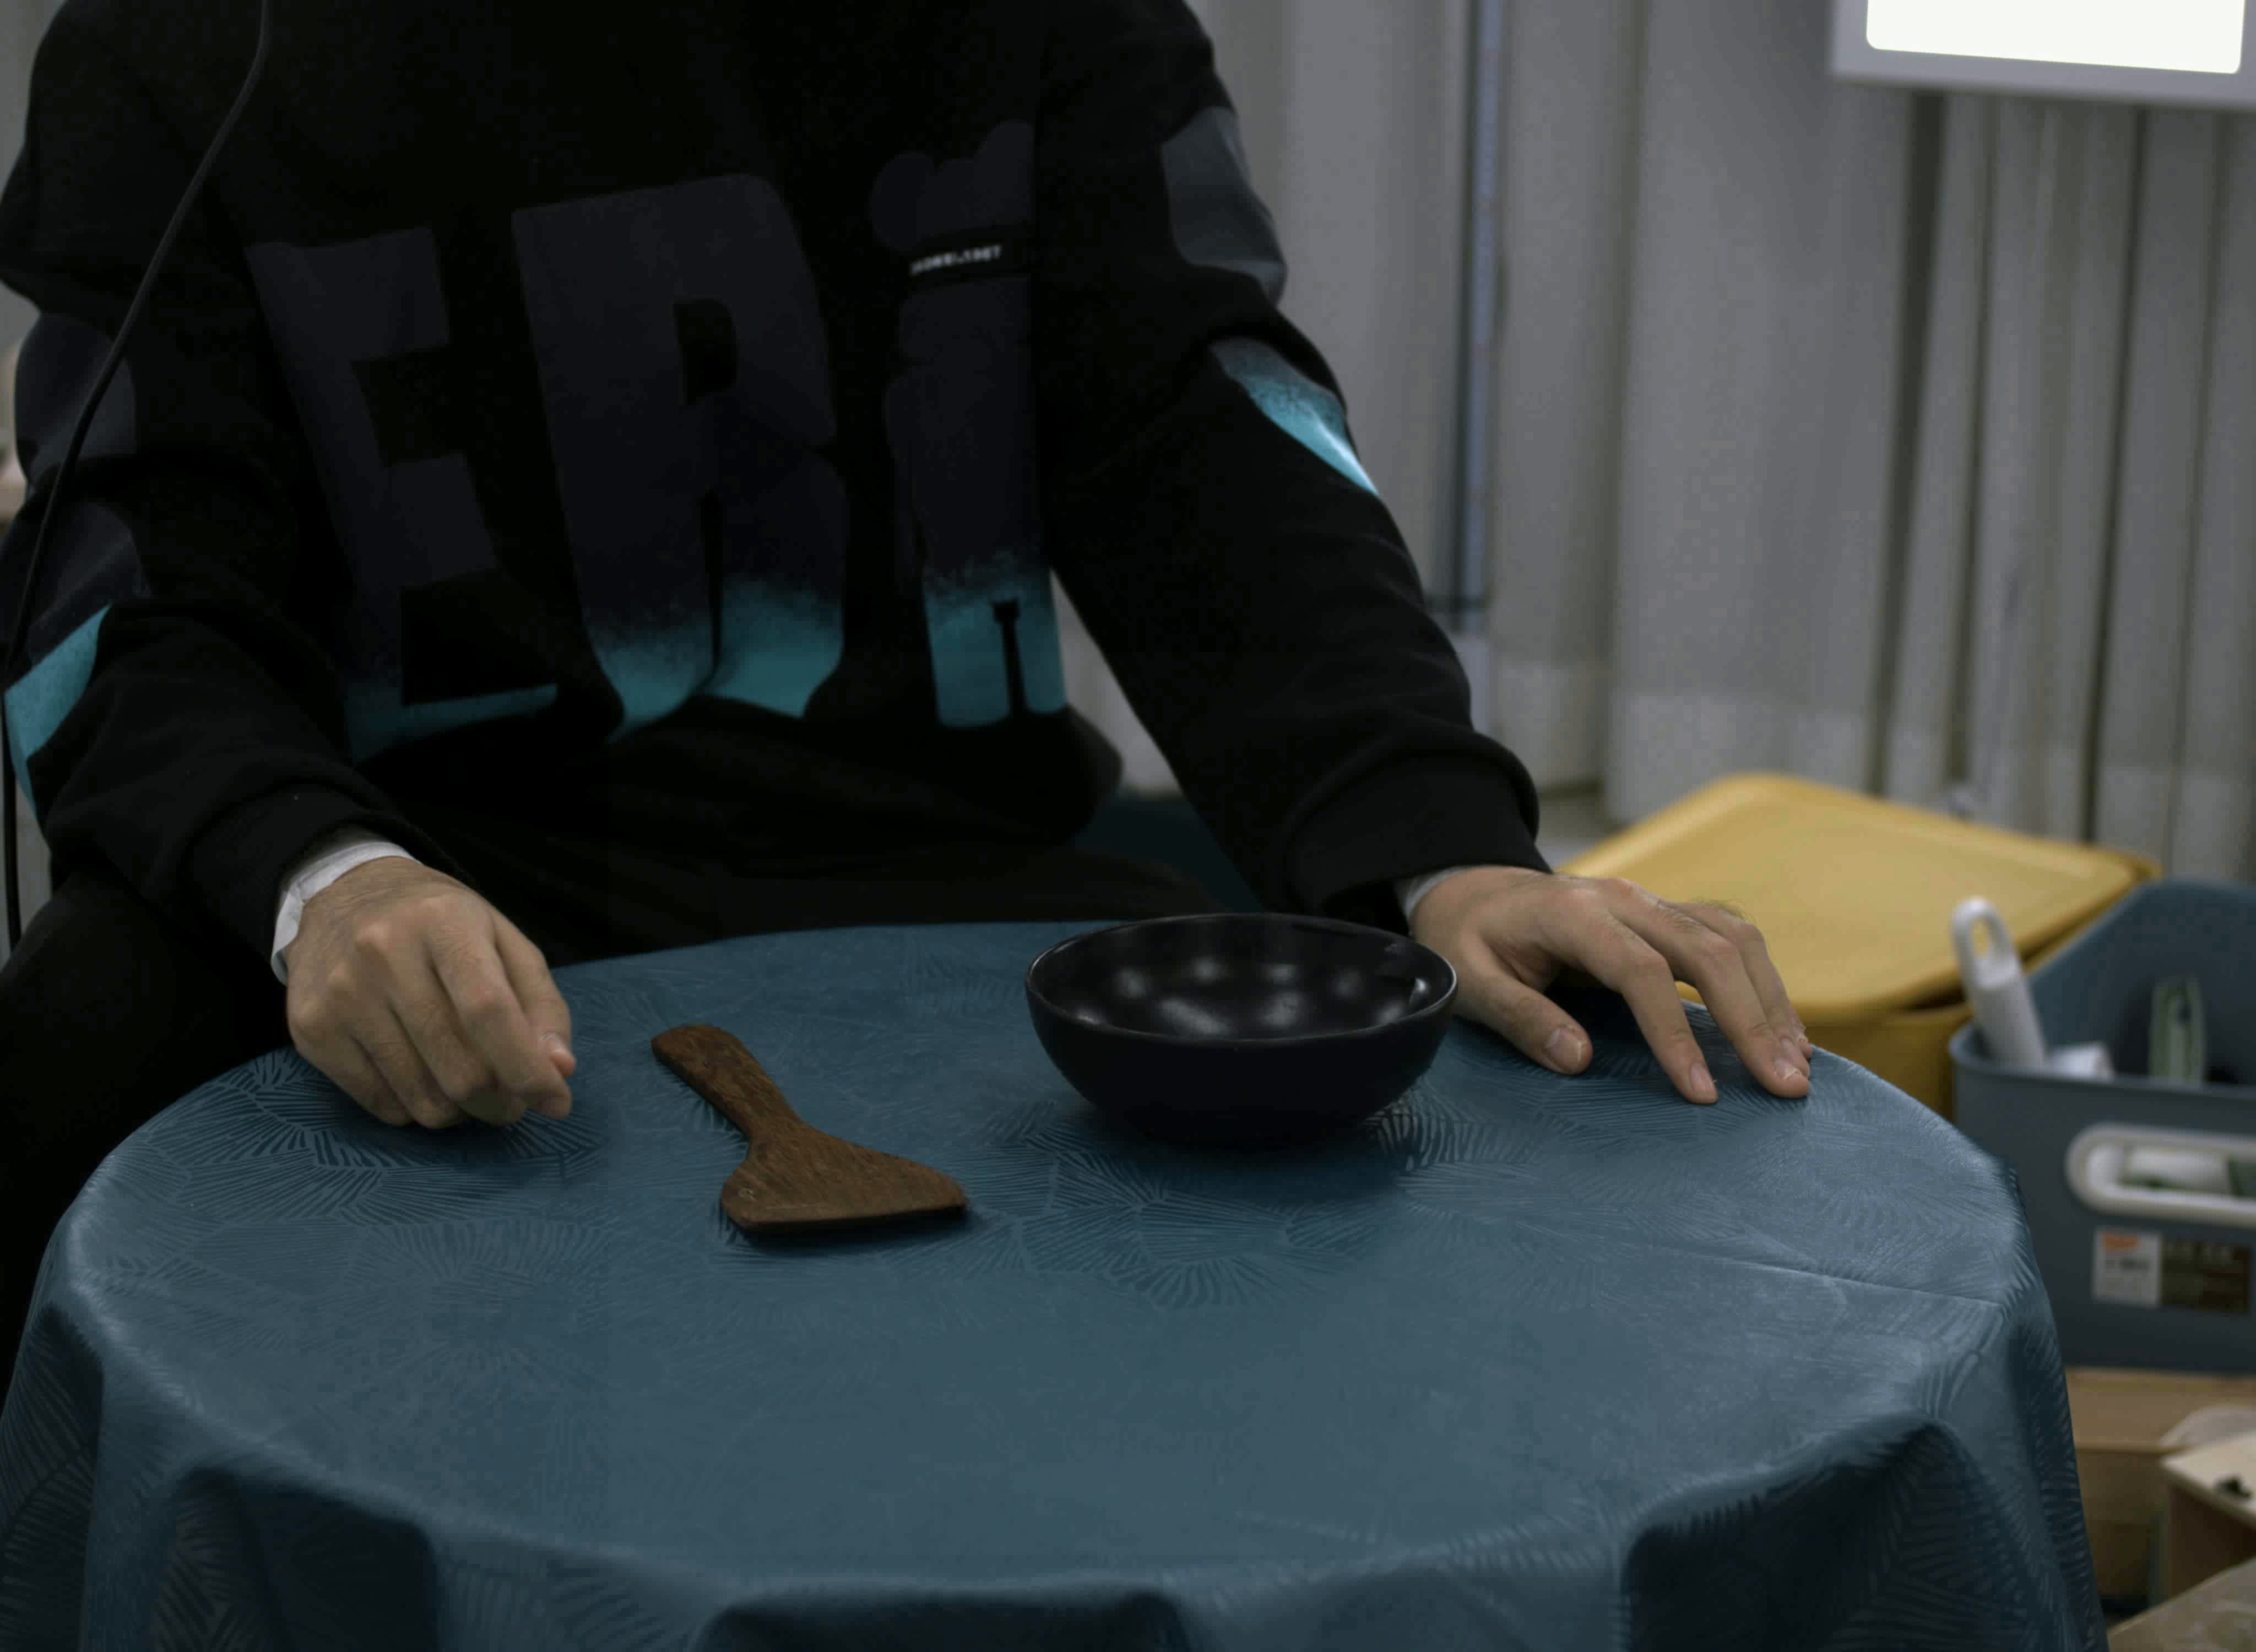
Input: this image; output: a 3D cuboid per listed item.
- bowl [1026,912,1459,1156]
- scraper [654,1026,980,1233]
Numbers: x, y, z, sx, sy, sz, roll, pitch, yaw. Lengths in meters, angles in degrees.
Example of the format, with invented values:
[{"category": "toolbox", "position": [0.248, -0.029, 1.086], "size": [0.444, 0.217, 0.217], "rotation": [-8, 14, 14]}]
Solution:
[{"category": "bowl", "position": [0.038, 0.071, 1.688], "size": [0.139, 0.050, 0.139], "rotation": [-2, 16, 1]}, {"category": "scraper", "position": [-0.112, 0.095, 1.670], "size": [0.076, 0.011, 0.209], "rotation": [-4, 16, -20]}]
